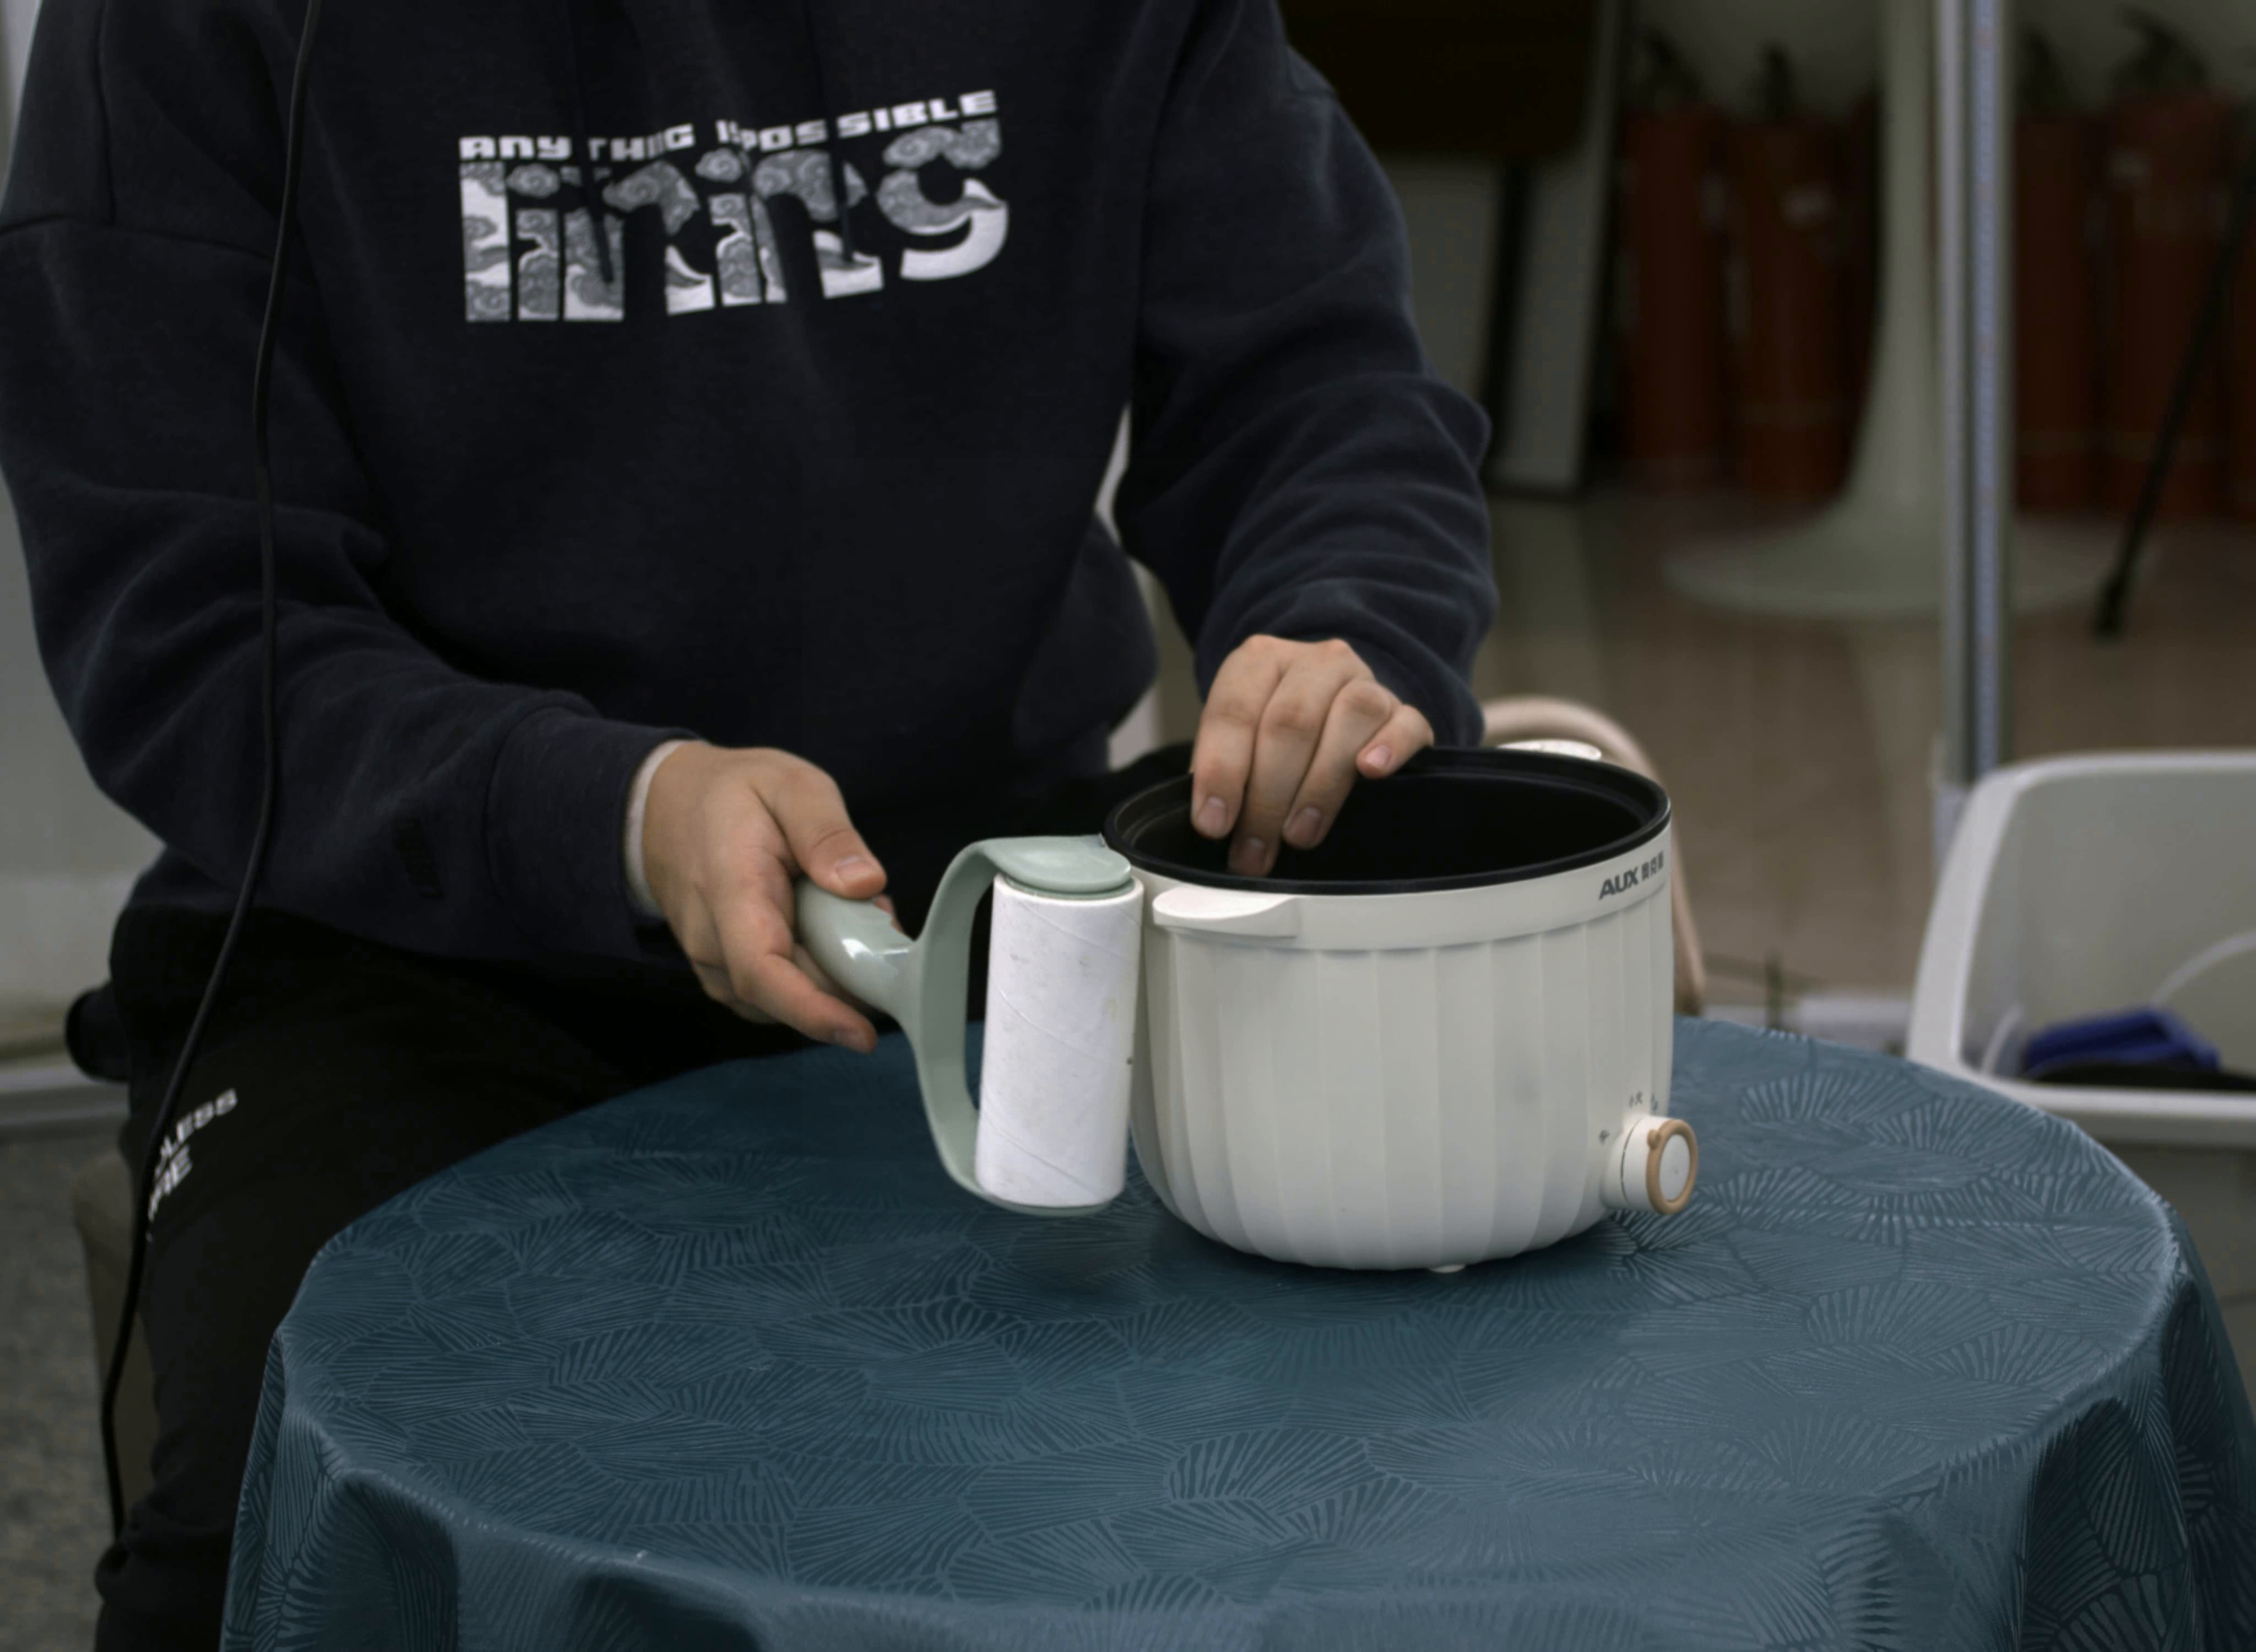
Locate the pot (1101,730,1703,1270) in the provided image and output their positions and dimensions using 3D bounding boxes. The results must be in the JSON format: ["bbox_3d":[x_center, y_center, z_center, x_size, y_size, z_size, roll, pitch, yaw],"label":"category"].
[{"bbox_3d":[0.090,0.058,1.714,0.191,0.144,0.236,2,16,34],"label":"pot"}]

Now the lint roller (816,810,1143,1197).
[{"bbox_3d":[-0.059,0.038,1.725,0.047,0.118,0.200,-12,21,-31],"label":"lint roller"}]
